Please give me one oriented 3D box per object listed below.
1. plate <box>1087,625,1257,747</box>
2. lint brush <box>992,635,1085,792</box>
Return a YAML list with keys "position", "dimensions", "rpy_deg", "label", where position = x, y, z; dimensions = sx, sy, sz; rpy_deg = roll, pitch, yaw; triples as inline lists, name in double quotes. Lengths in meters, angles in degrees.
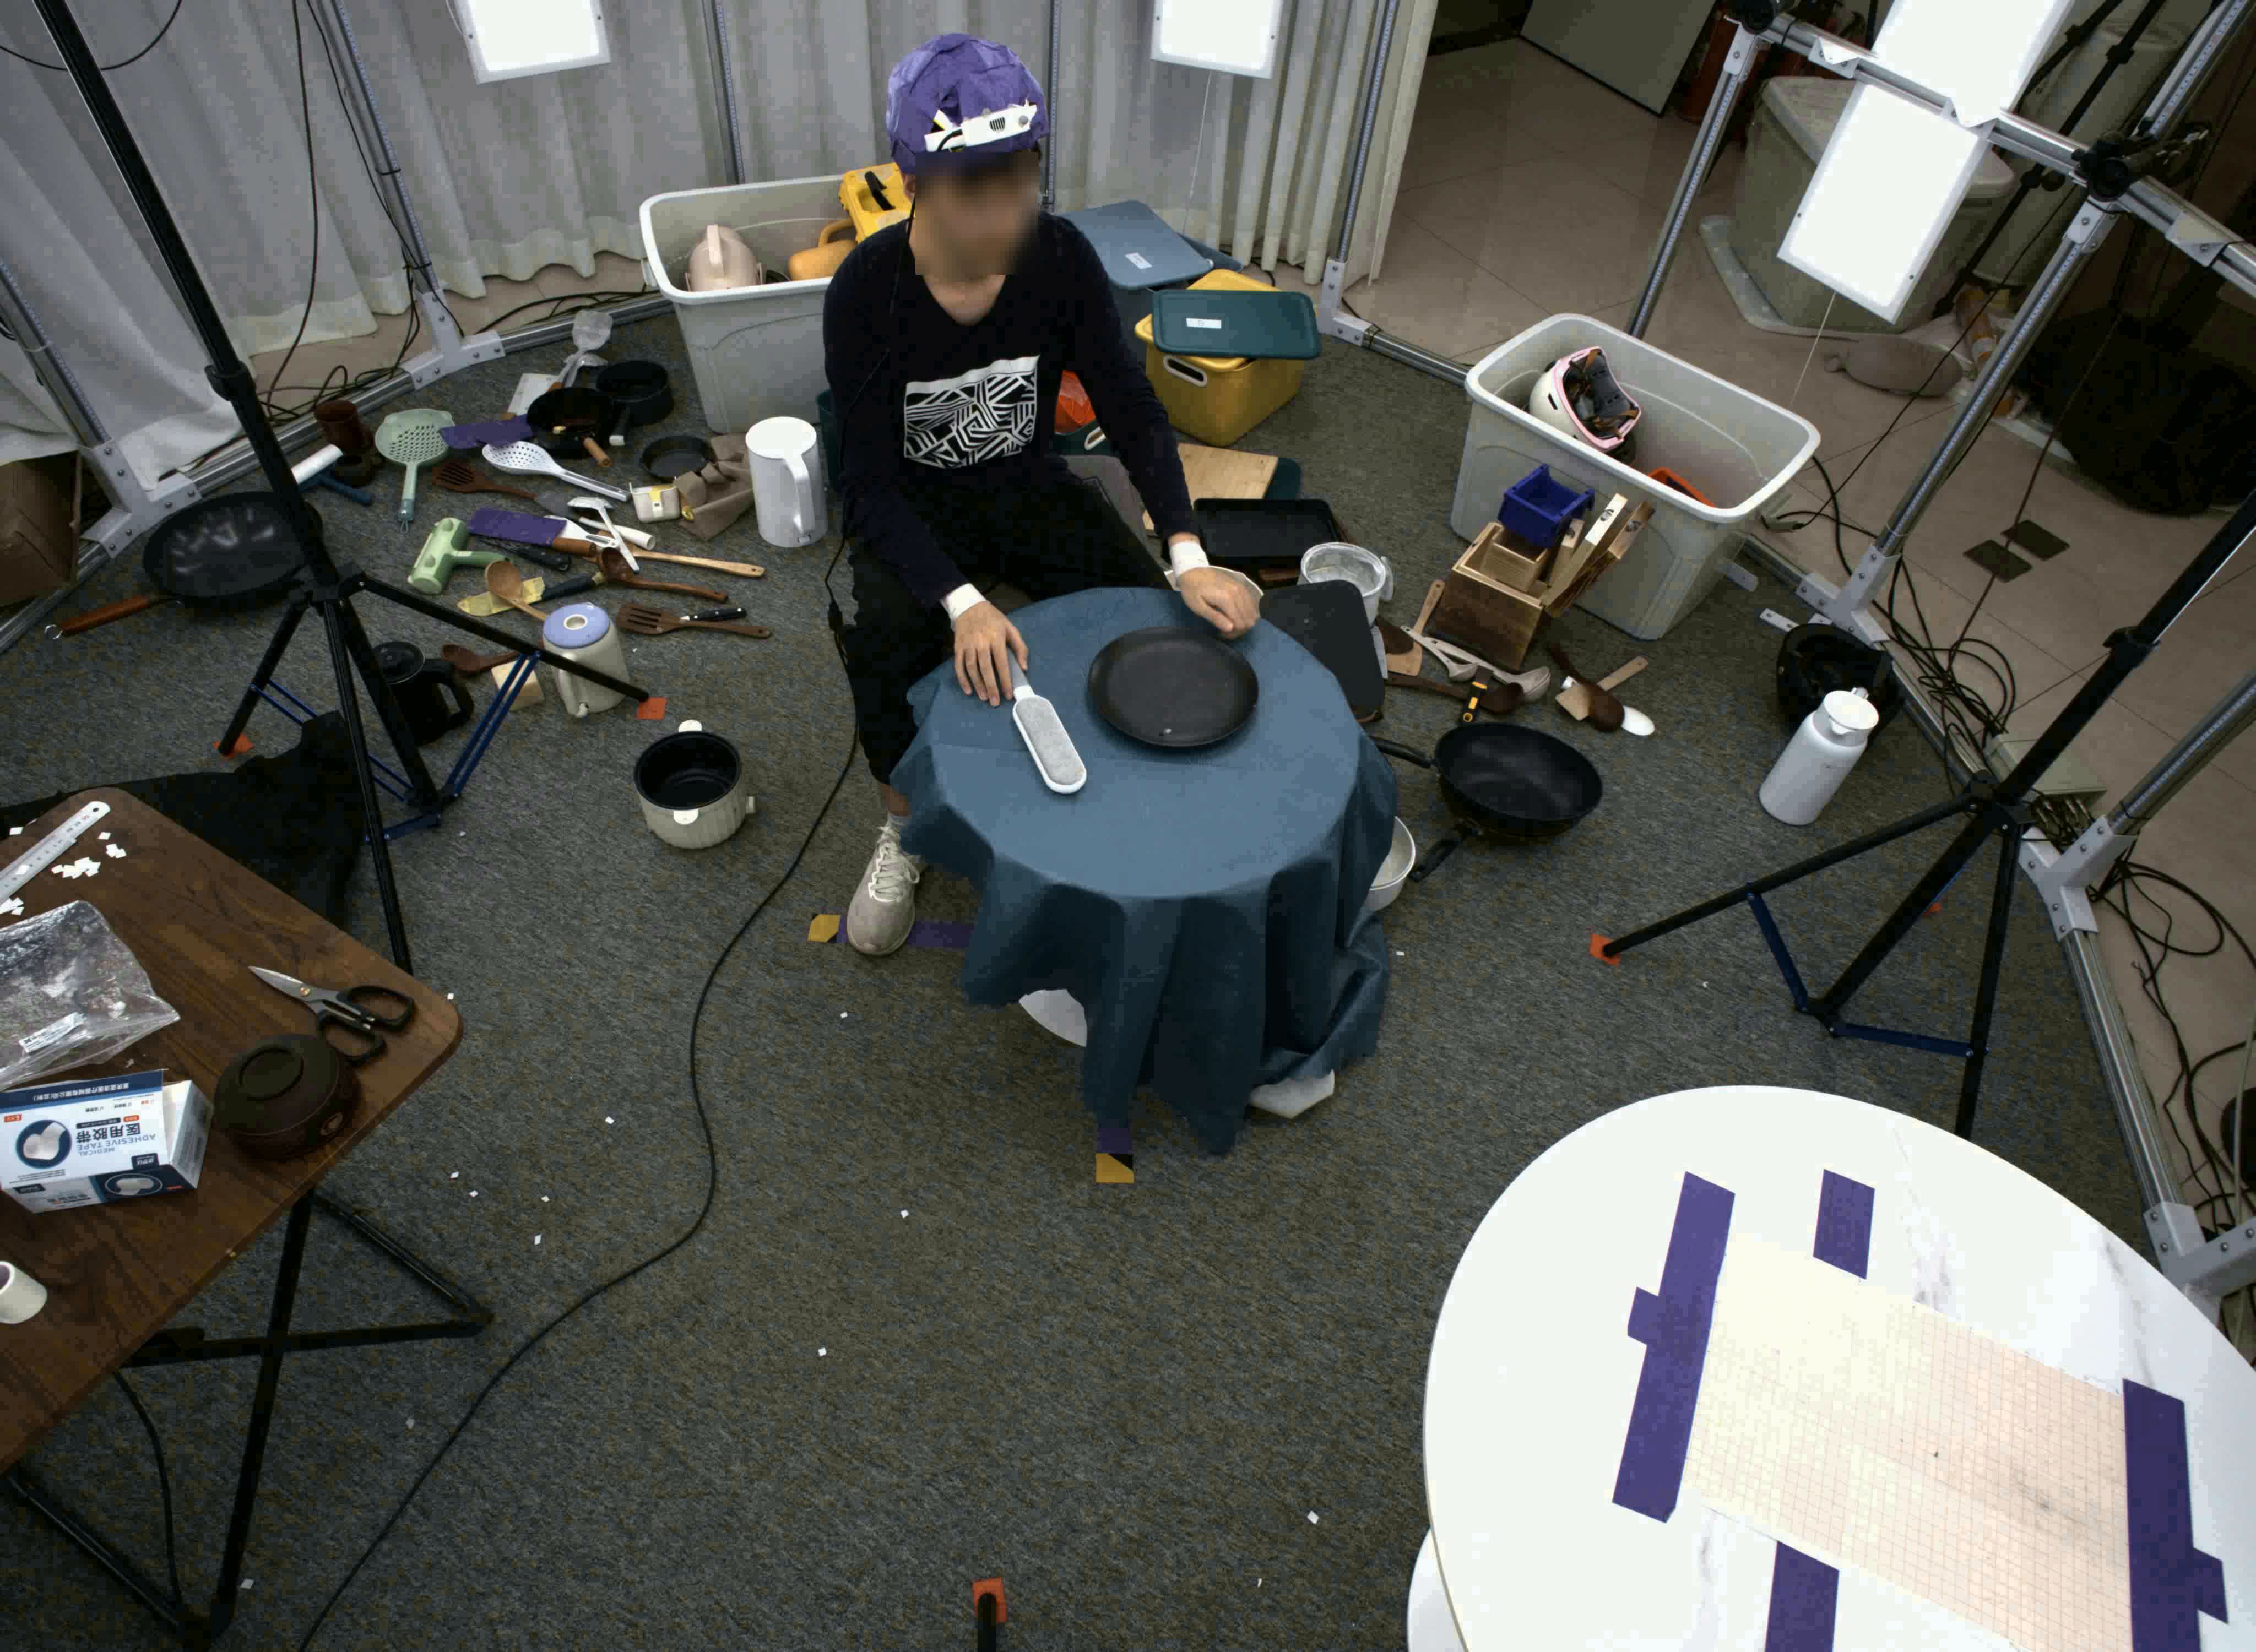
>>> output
- position: [0.062, -0.197, 1.827]
  dimensions: [0.244, 0.023, 0.250]
  rpy_deg: [2, 49, -3]
  label: "plate"
- position: [-0.130, -0.161, 1.781]
  dimensions: [0.060, 0.020, 0.316]
  rpy_deg: [-18, 52, -12]
  label: "lint brush"
